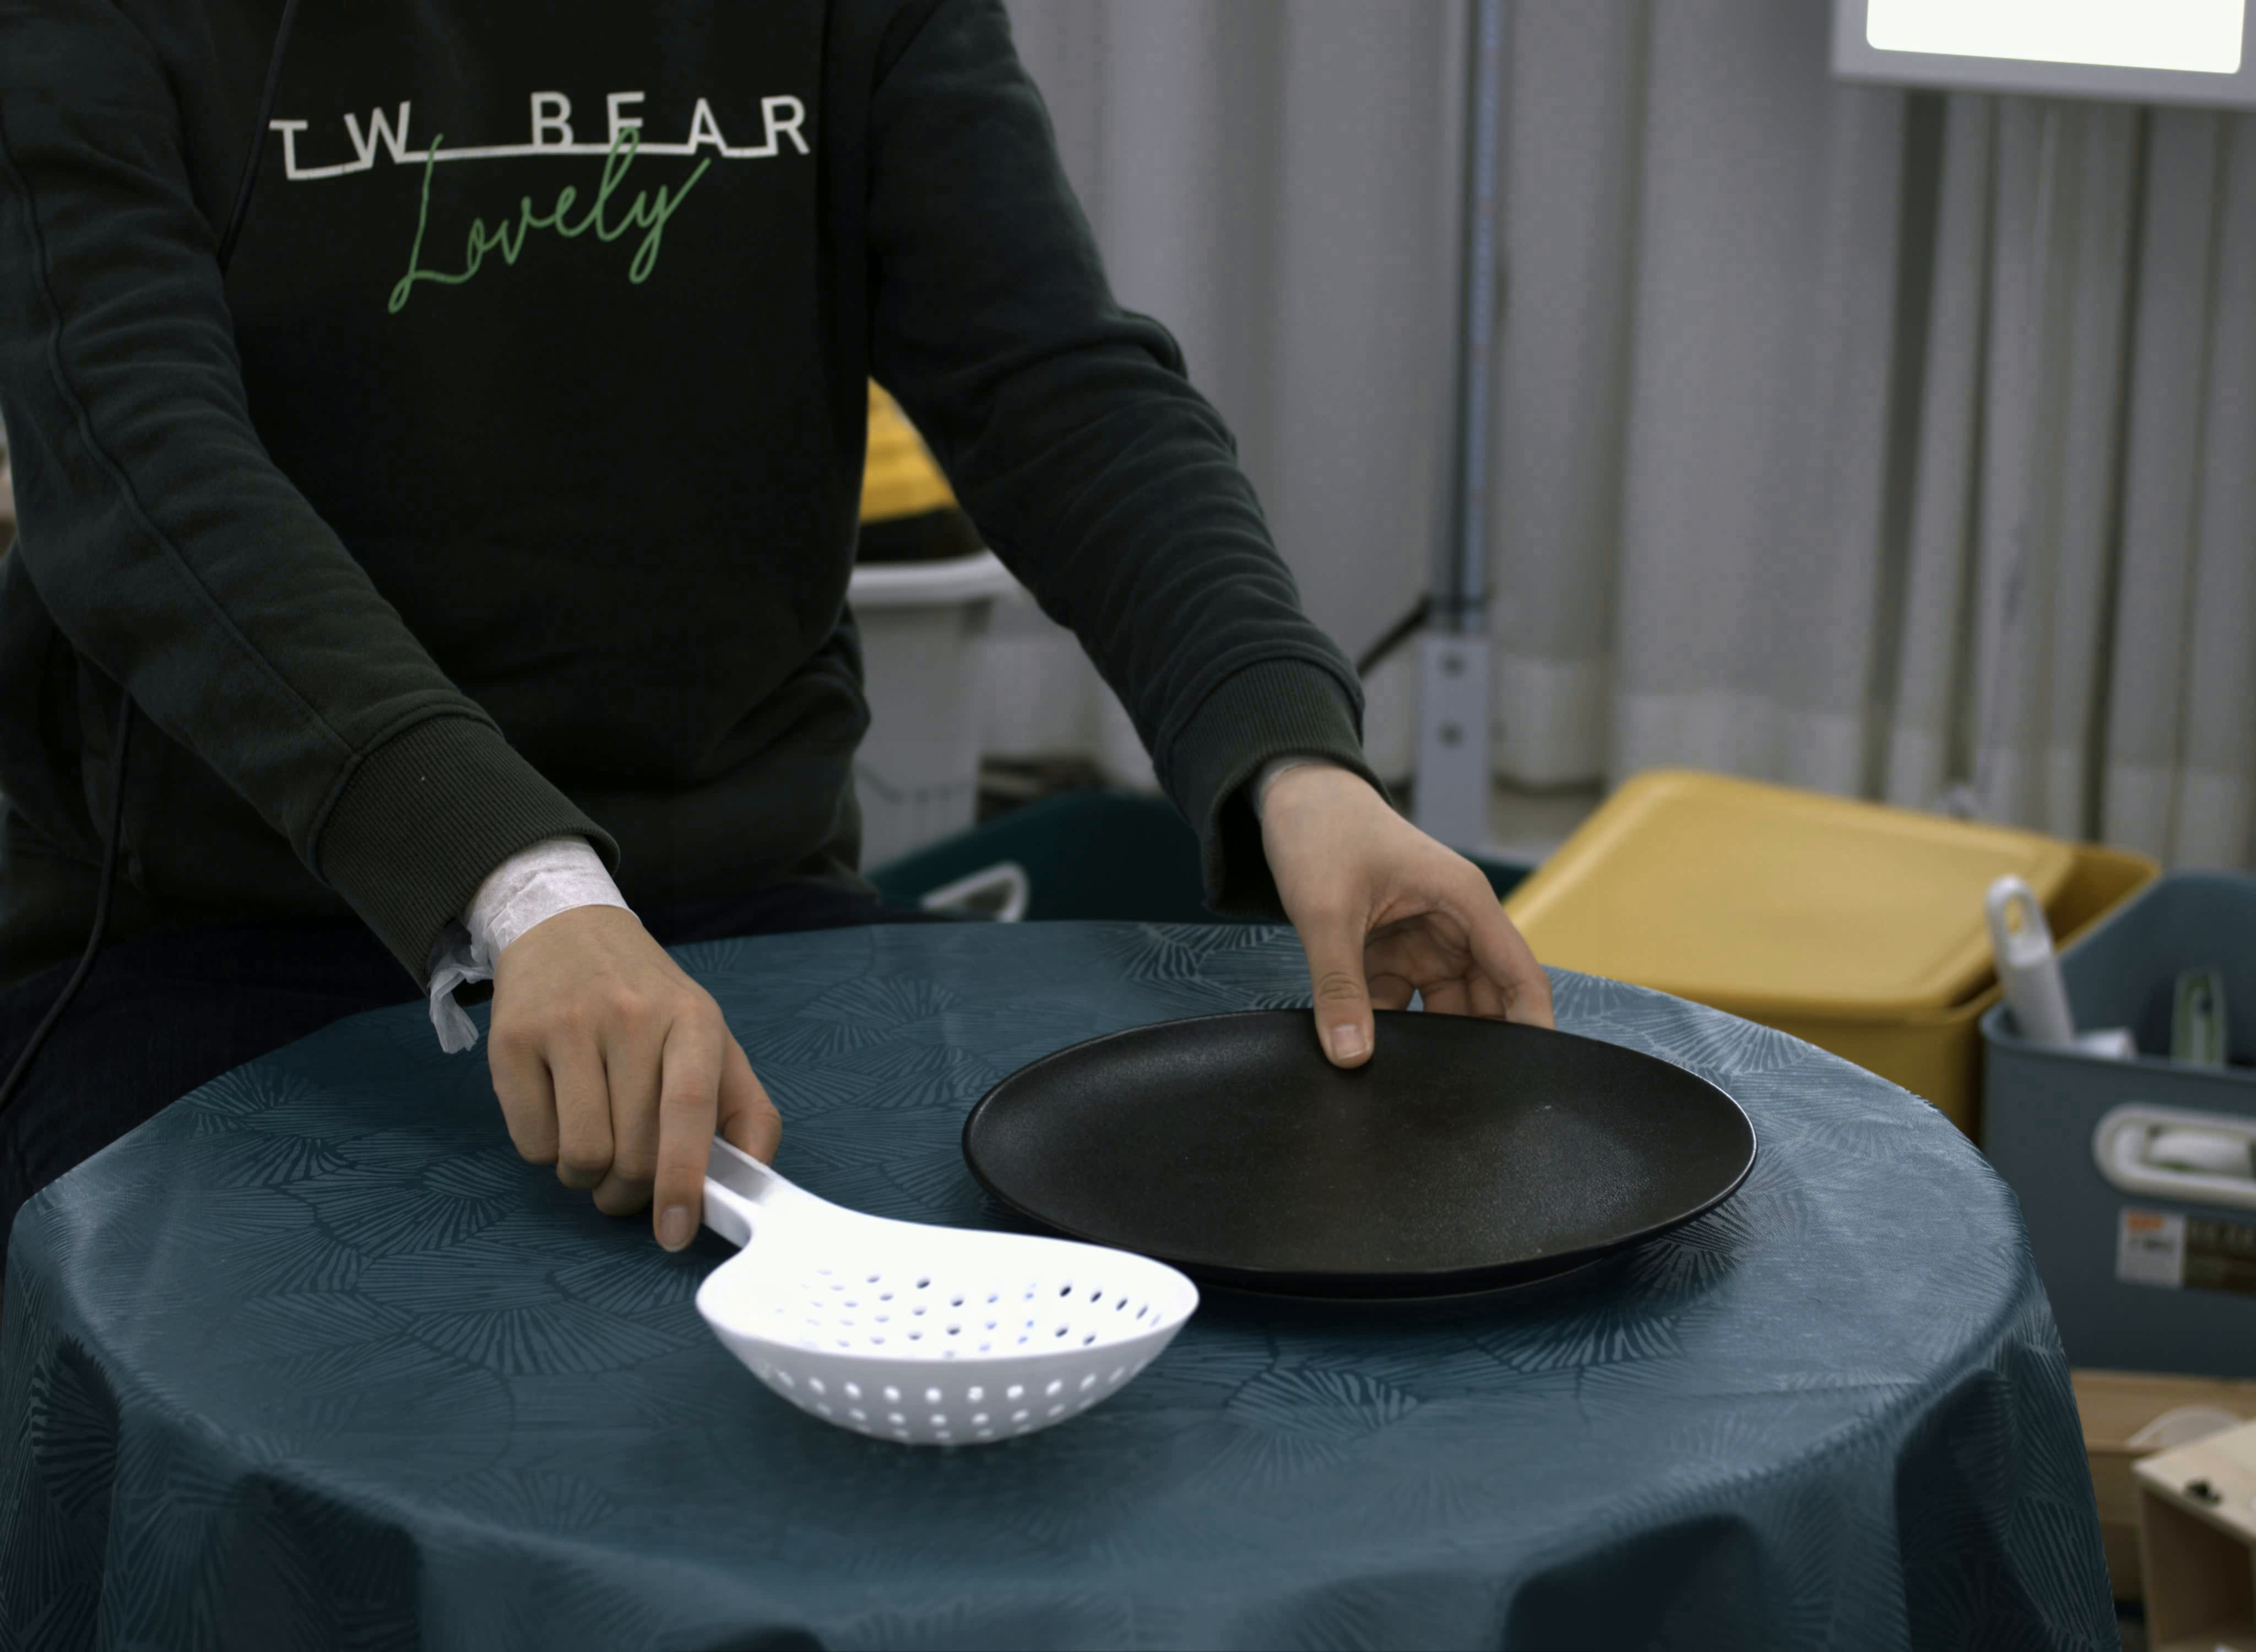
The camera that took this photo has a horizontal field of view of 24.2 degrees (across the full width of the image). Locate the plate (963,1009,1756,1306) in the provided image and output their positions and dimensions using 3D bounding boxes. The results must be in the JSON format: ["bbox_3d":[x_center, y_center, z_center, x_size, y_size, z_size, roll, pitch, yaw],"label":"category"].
[{"bbox_3d":[0.071,0.103,1.617,0.243,0.023,0.243,0,16,0],"label":"plate"}]

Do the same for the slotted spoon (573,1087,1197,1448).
[{"bbox_3d":[-0.094,0.118,1.521,0.136,0.046,0.345,-2,15,-25],"label":"slotted spoon"}]
